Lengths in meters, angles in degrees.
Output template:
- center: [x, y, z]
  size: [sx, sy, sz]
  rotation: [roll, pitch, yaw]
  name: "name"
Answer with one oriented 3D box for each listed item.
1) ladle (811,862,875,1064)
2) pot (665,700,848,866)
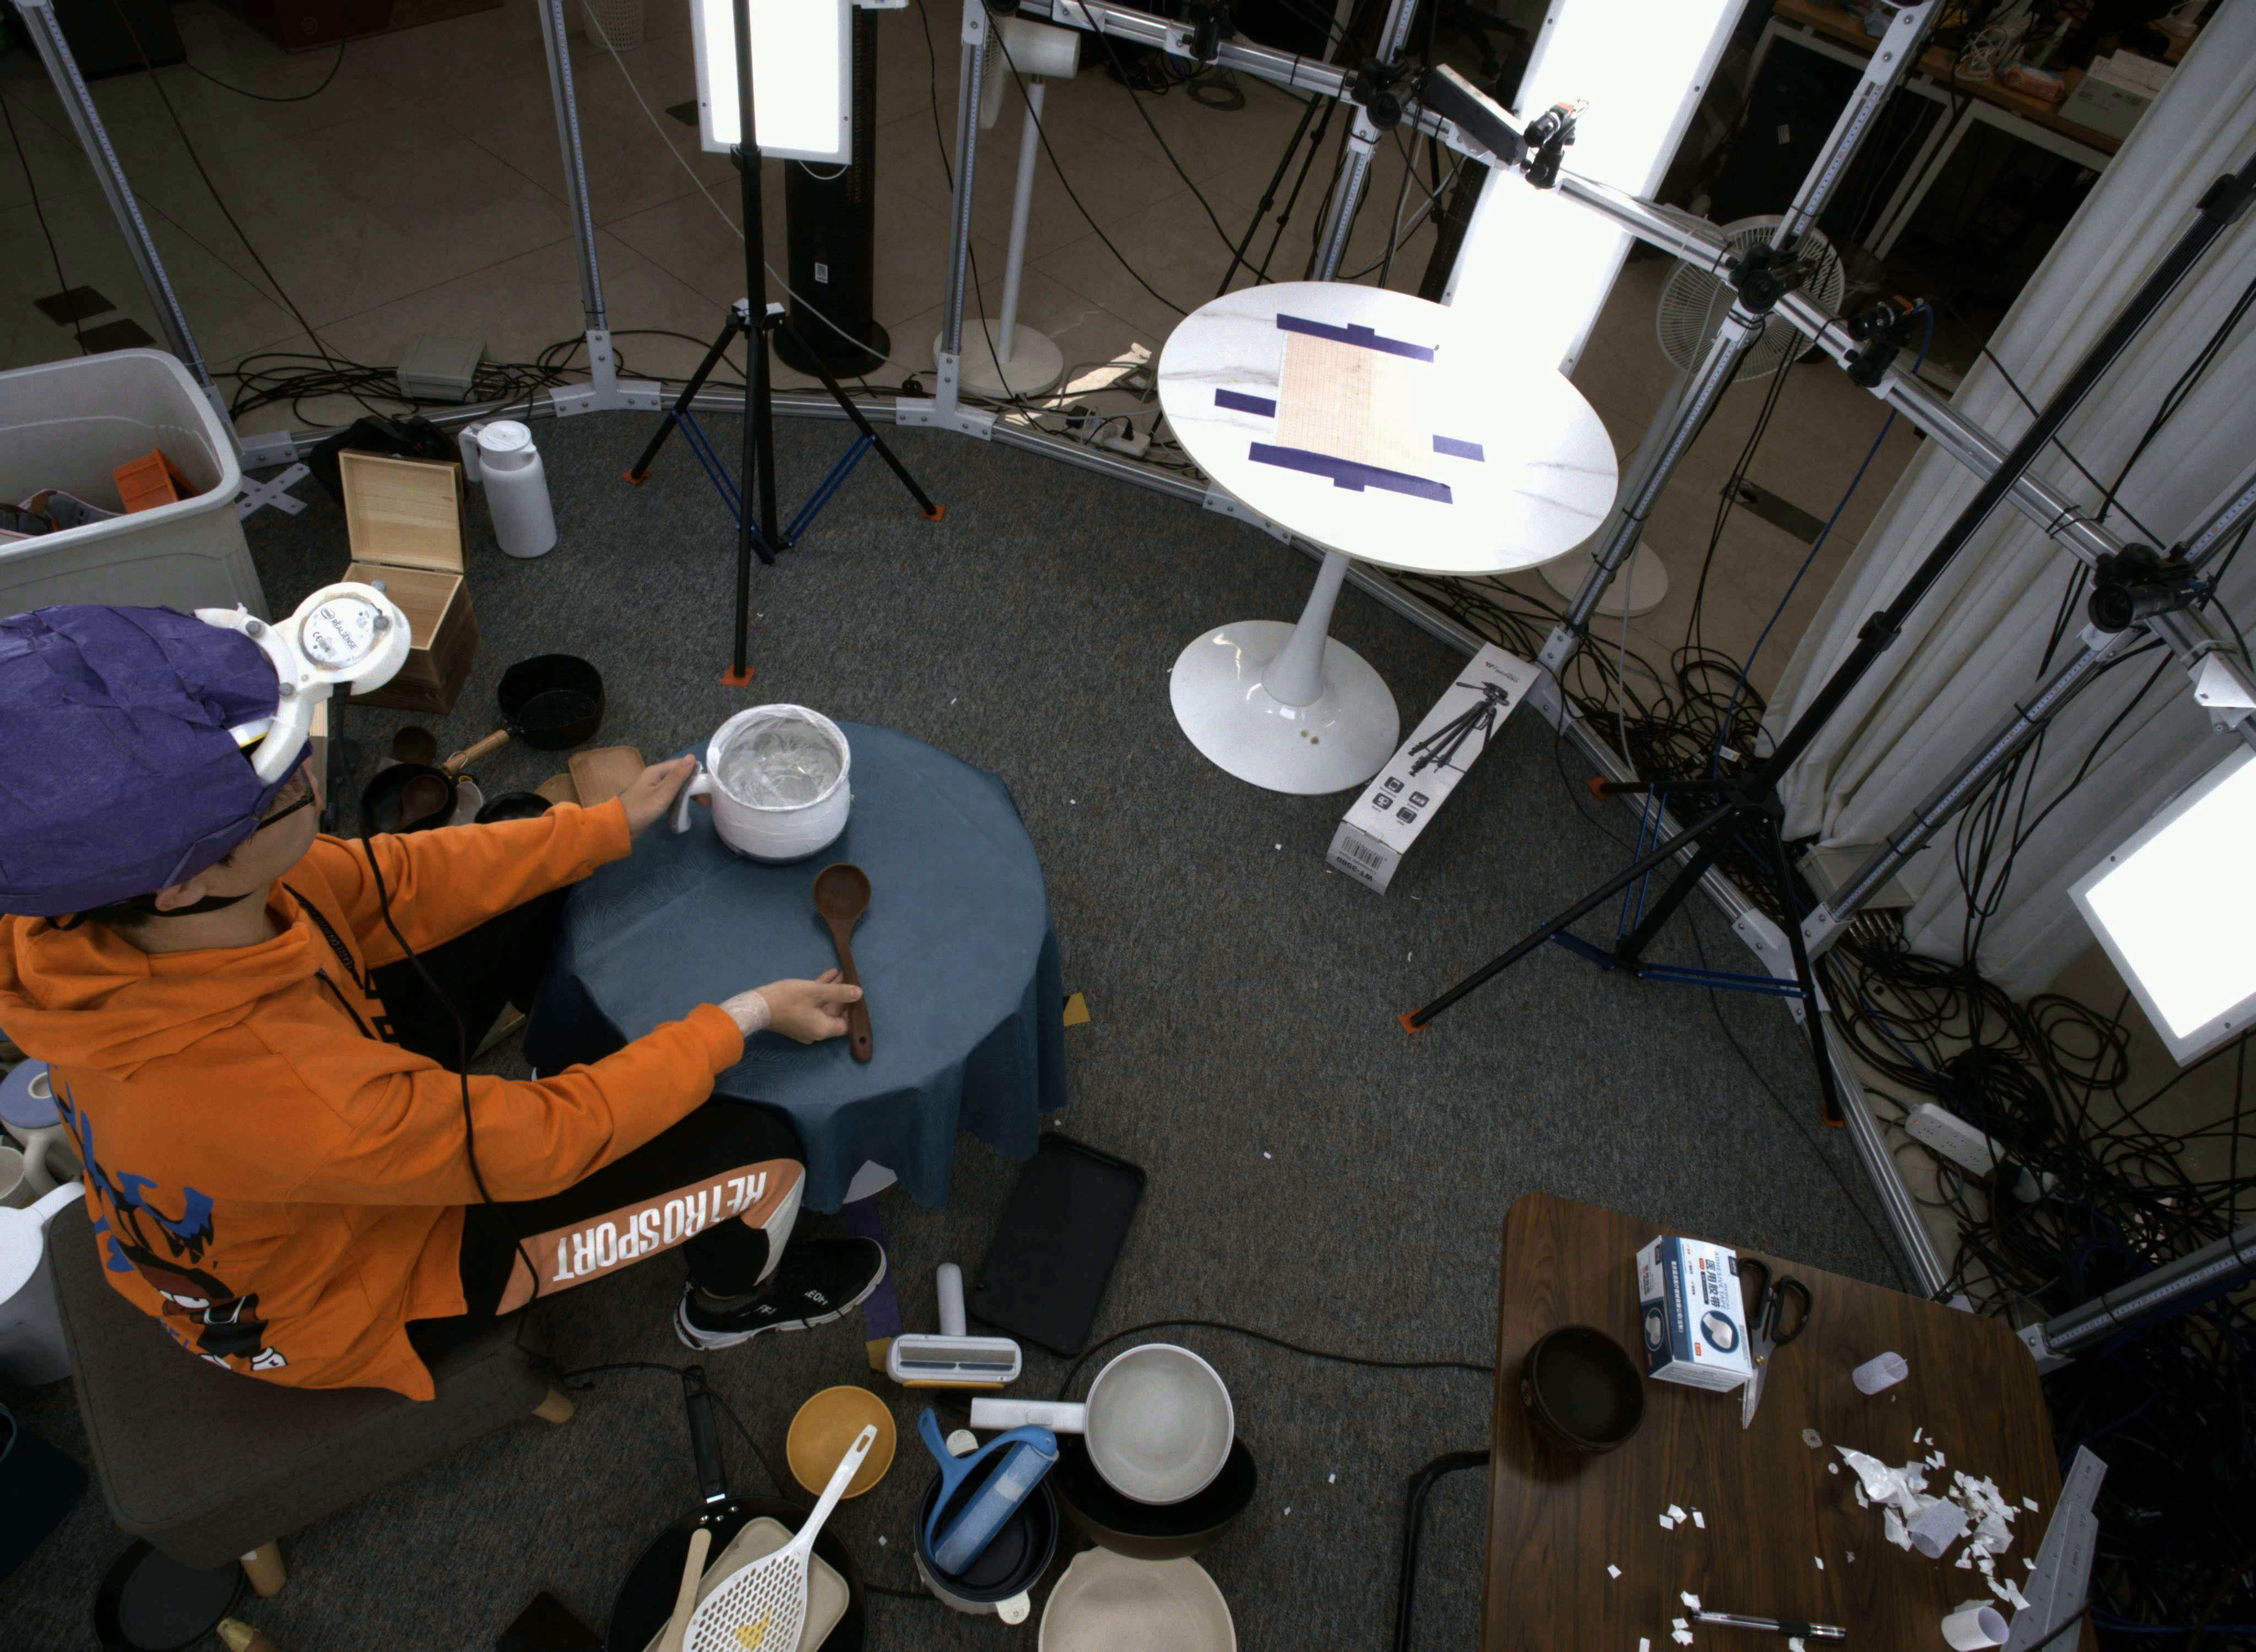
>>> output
- center: [-0.336, 0.159, 1.577]
  size: [0.077, 0.066, 0.254]
  rotation: [-2, 54, -23]
  name: "ladle"
- center: [-0.474, -0.047, 1.647]
  size: [0.235, 0.139, 0.174]
  rotation: [-10, 56, -21]
  name: "pot"
